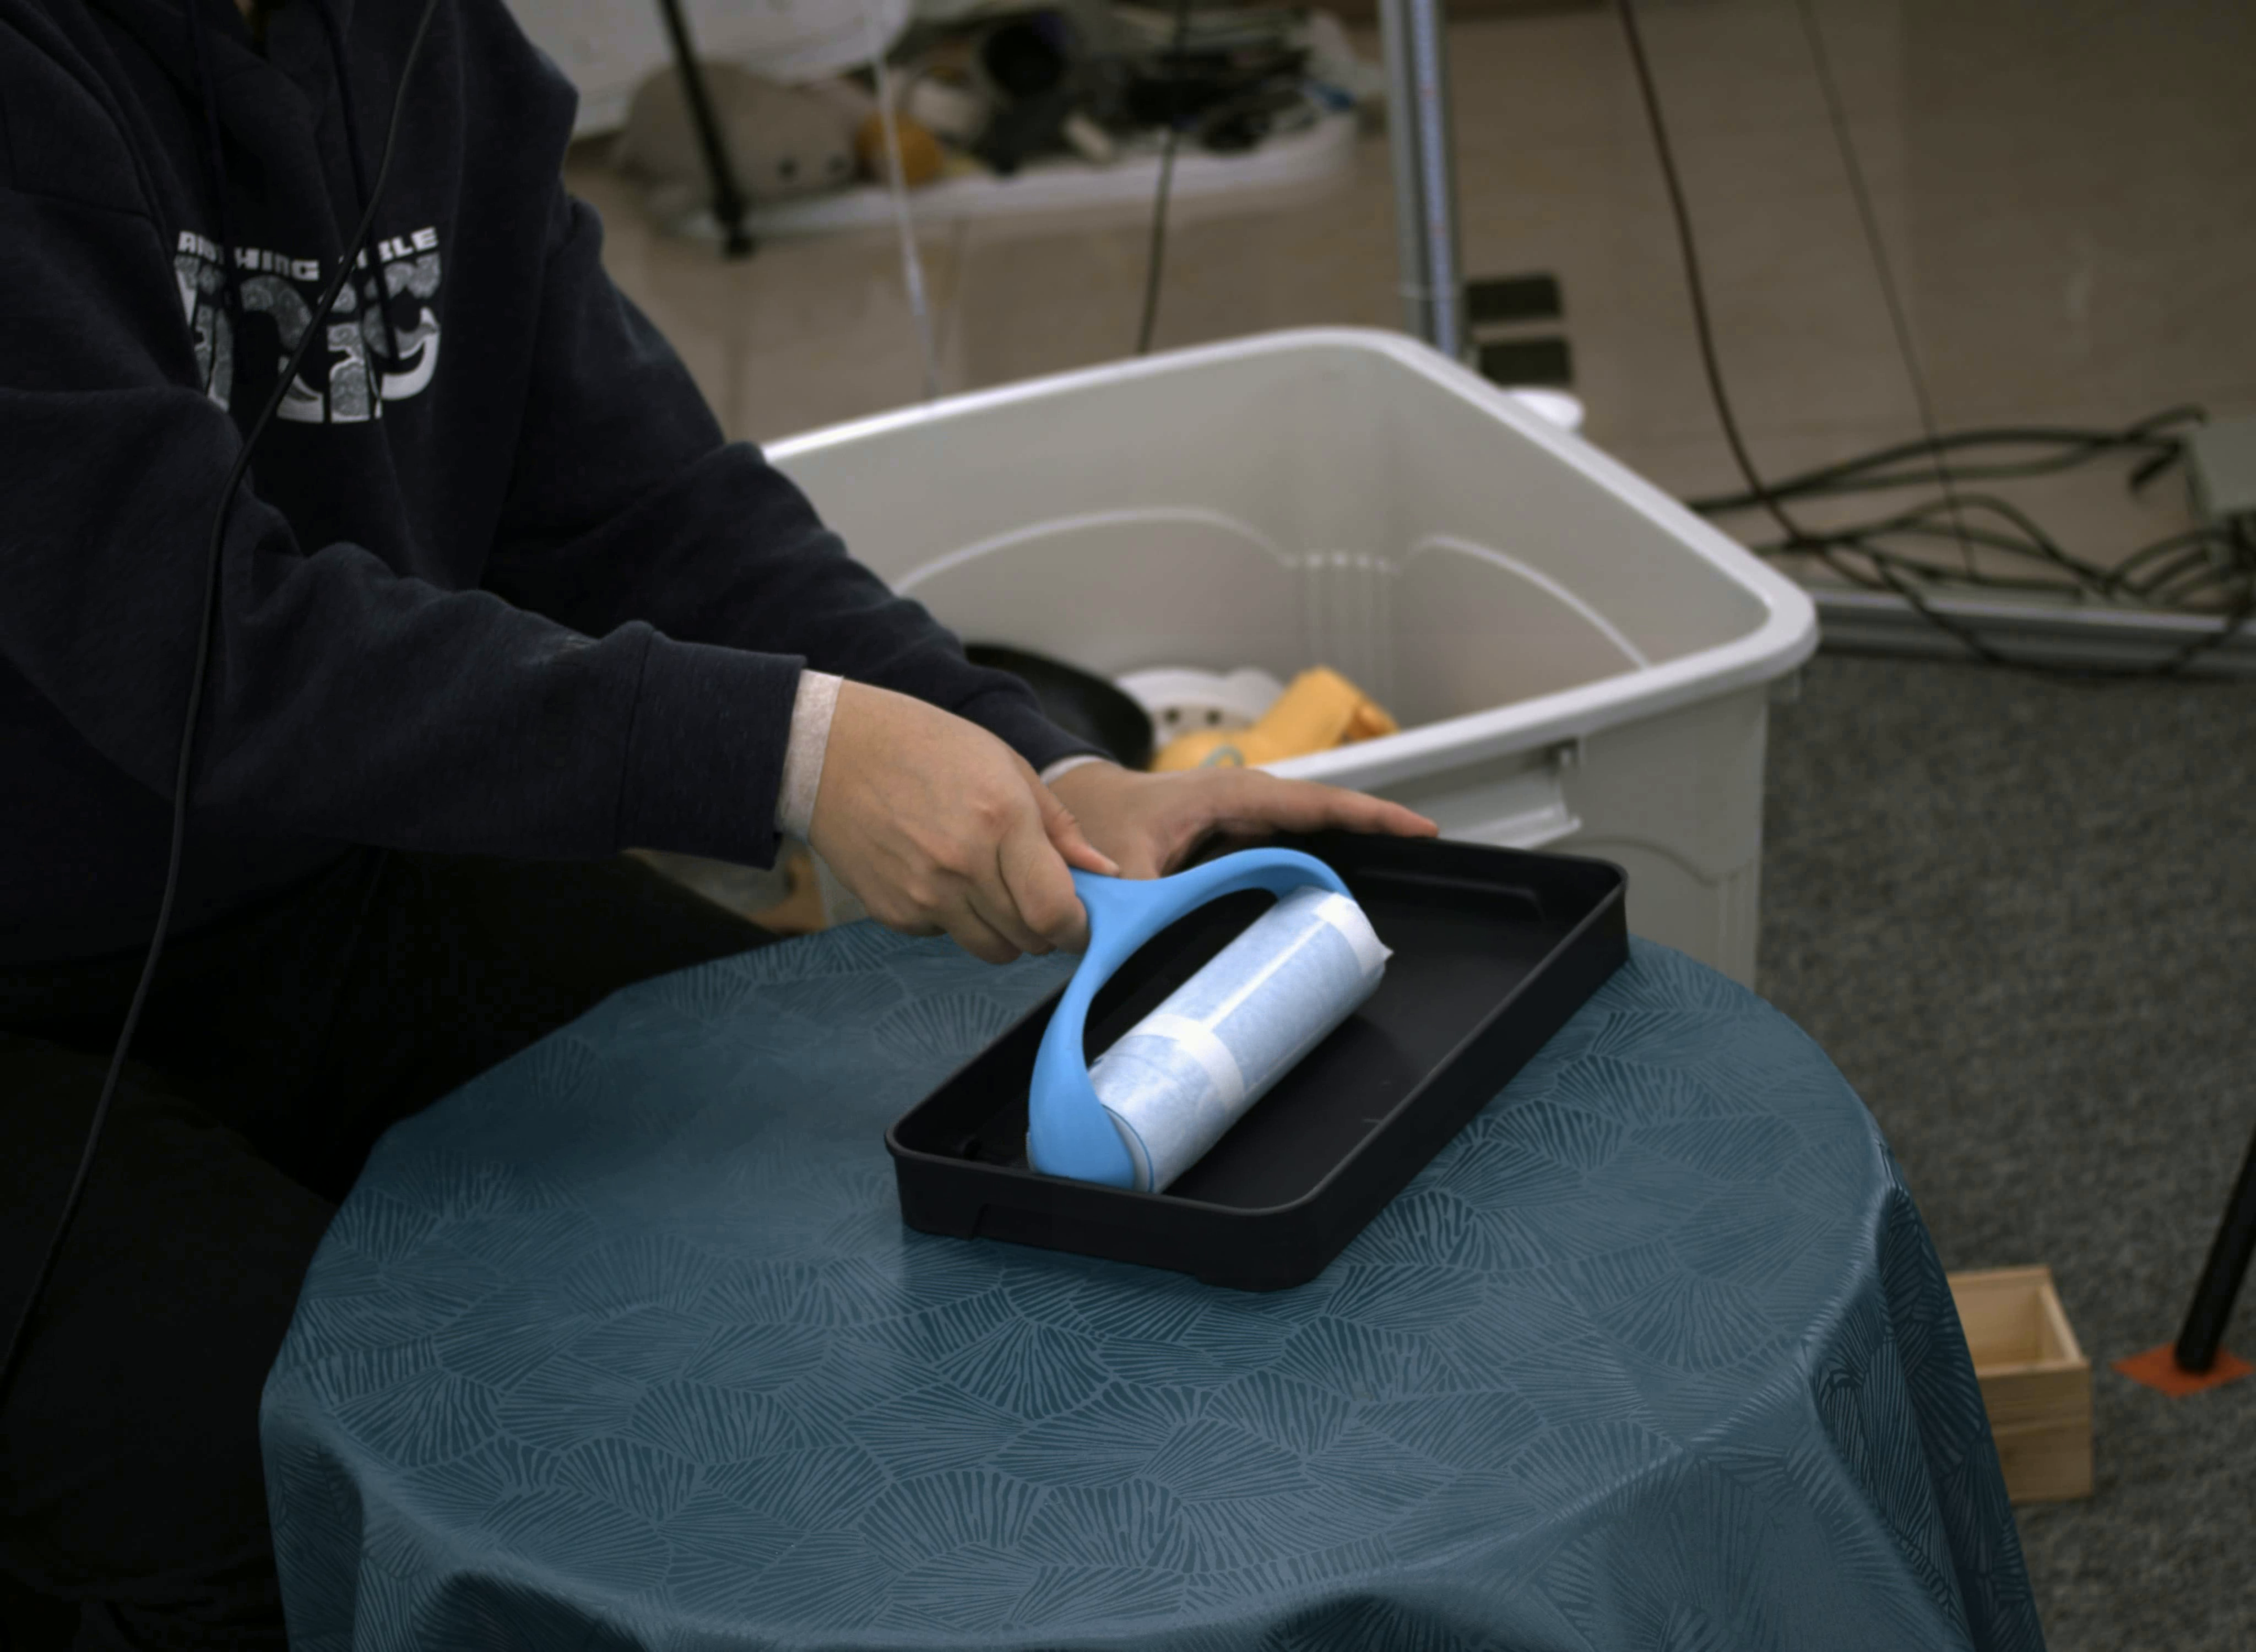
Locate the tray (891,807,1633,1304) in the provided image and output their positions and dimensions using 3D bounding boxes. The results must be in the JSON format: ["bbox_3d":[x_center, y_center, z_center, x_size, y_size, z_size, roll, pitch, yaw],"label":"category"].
[{"bbox_3d":[0.059,0.084,2.218,0.183,0.037,0.314,8,30,28],"label":"tray"}]

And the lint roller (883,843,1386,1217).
[{"bbox_3d":[-0.014,0.051,2.188,0.179,0.069,0.226,37,40,8],"label":"lint roller"}]
